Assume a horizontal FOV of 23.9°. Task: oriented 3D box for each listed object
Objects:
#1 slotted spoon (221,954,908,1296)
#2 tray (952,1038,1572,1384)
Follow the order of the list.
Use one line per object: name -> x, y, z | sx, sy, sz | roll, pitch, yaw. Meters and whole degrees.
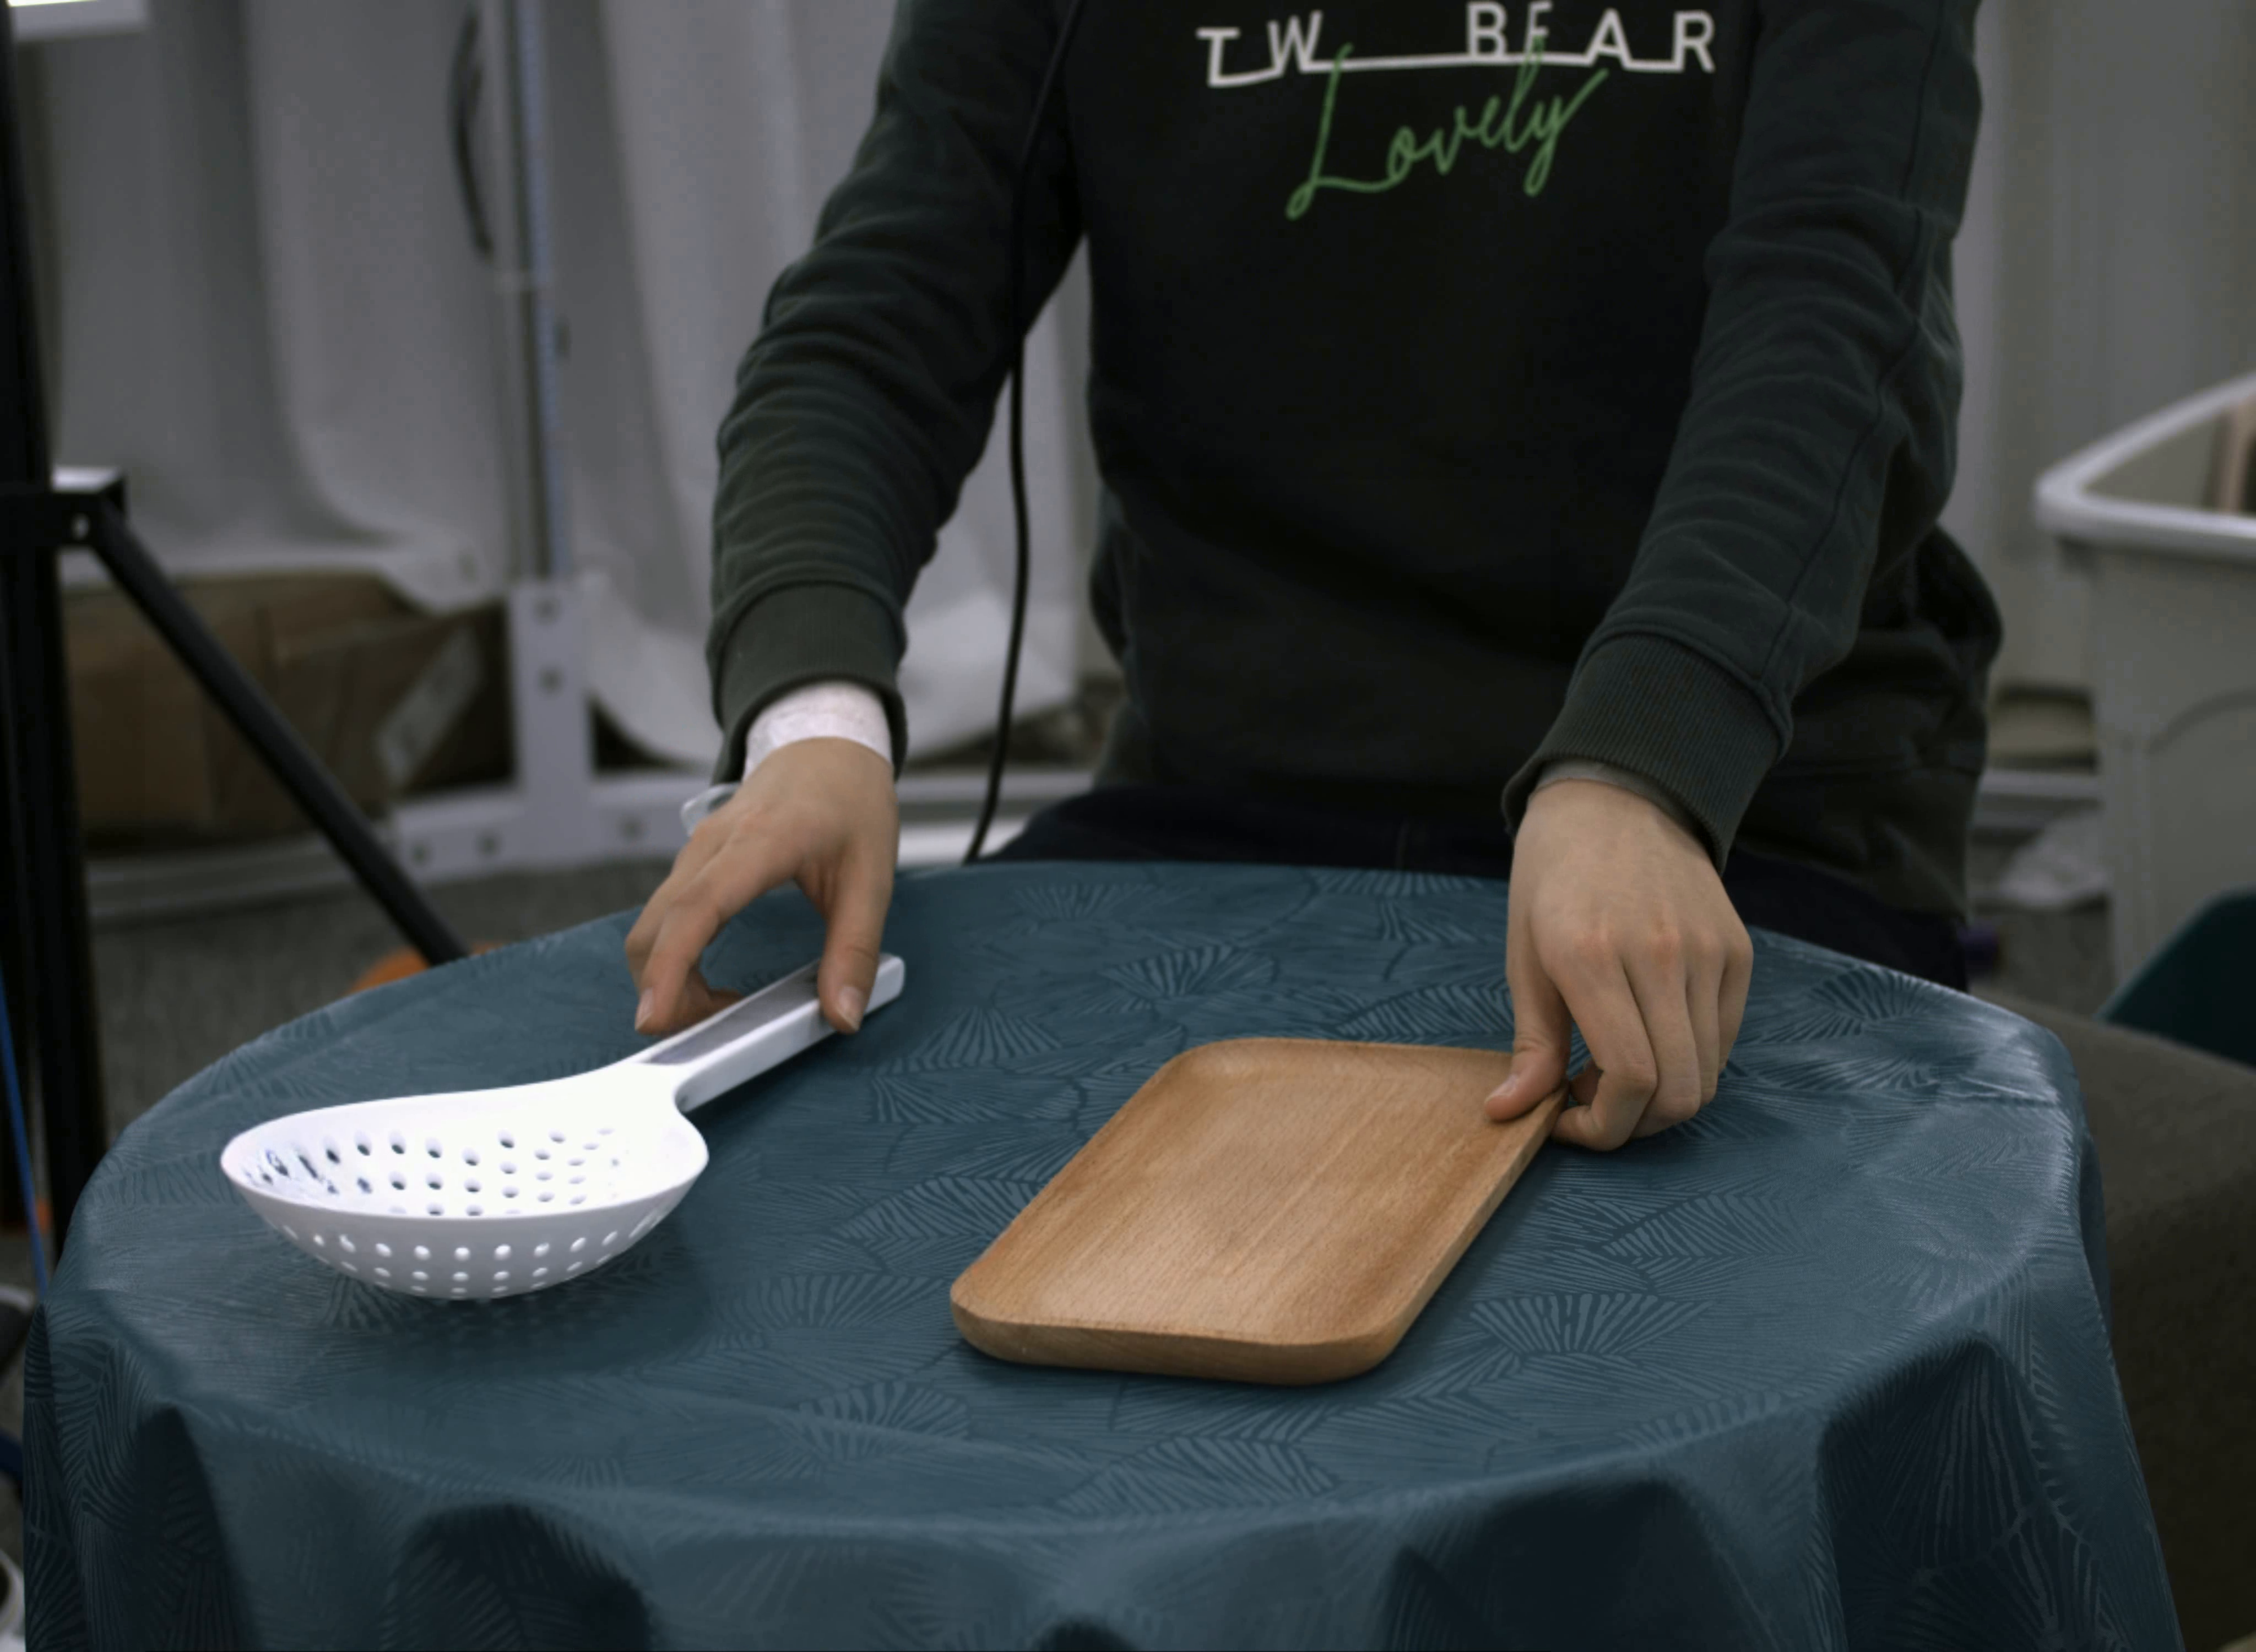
slotted spoon -> -0.147, 0.080, 1.599 | 0.138, 0.046, 0.345 | 6, 17, 21
tray -> 0.043, 0.107, 1.522 | 0.132, 0.023, 0.248 | 5, 16, 18
